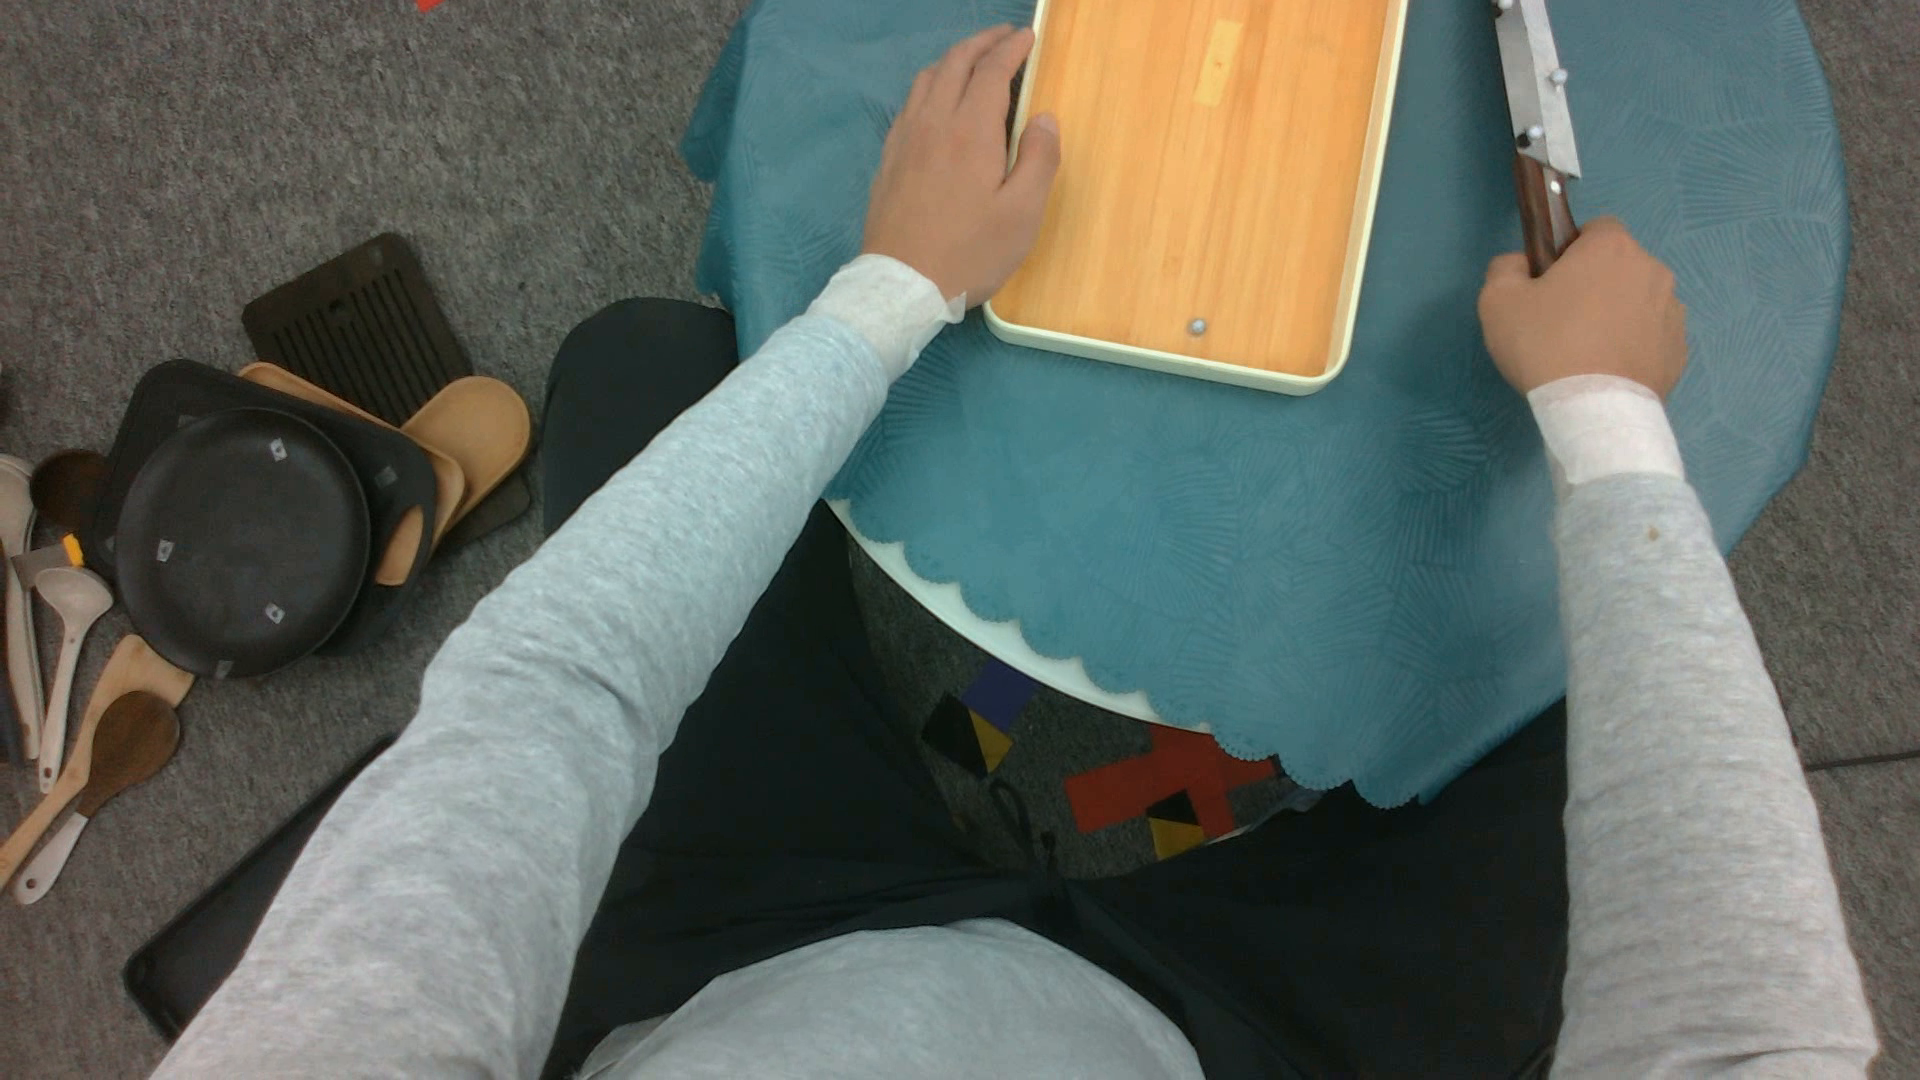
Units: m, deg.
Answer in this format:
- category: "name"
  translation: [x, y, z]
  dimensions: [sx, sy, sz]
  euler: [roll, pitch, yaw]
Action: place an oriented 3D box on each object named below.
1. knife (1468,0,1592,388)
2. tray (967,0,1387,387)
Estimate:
- category: "knife"
  translation: [0.292, -0.212, 0.717]
  dimensions: [0.050, 0.020, 0.290]
  euler: [8, 69, -26]
- category: "tray"
  translation: [0.121, -0.240, 0.735]
  dimensions: [0.191, 0.027, 0.301]
  euler: [11, 81, 2]
